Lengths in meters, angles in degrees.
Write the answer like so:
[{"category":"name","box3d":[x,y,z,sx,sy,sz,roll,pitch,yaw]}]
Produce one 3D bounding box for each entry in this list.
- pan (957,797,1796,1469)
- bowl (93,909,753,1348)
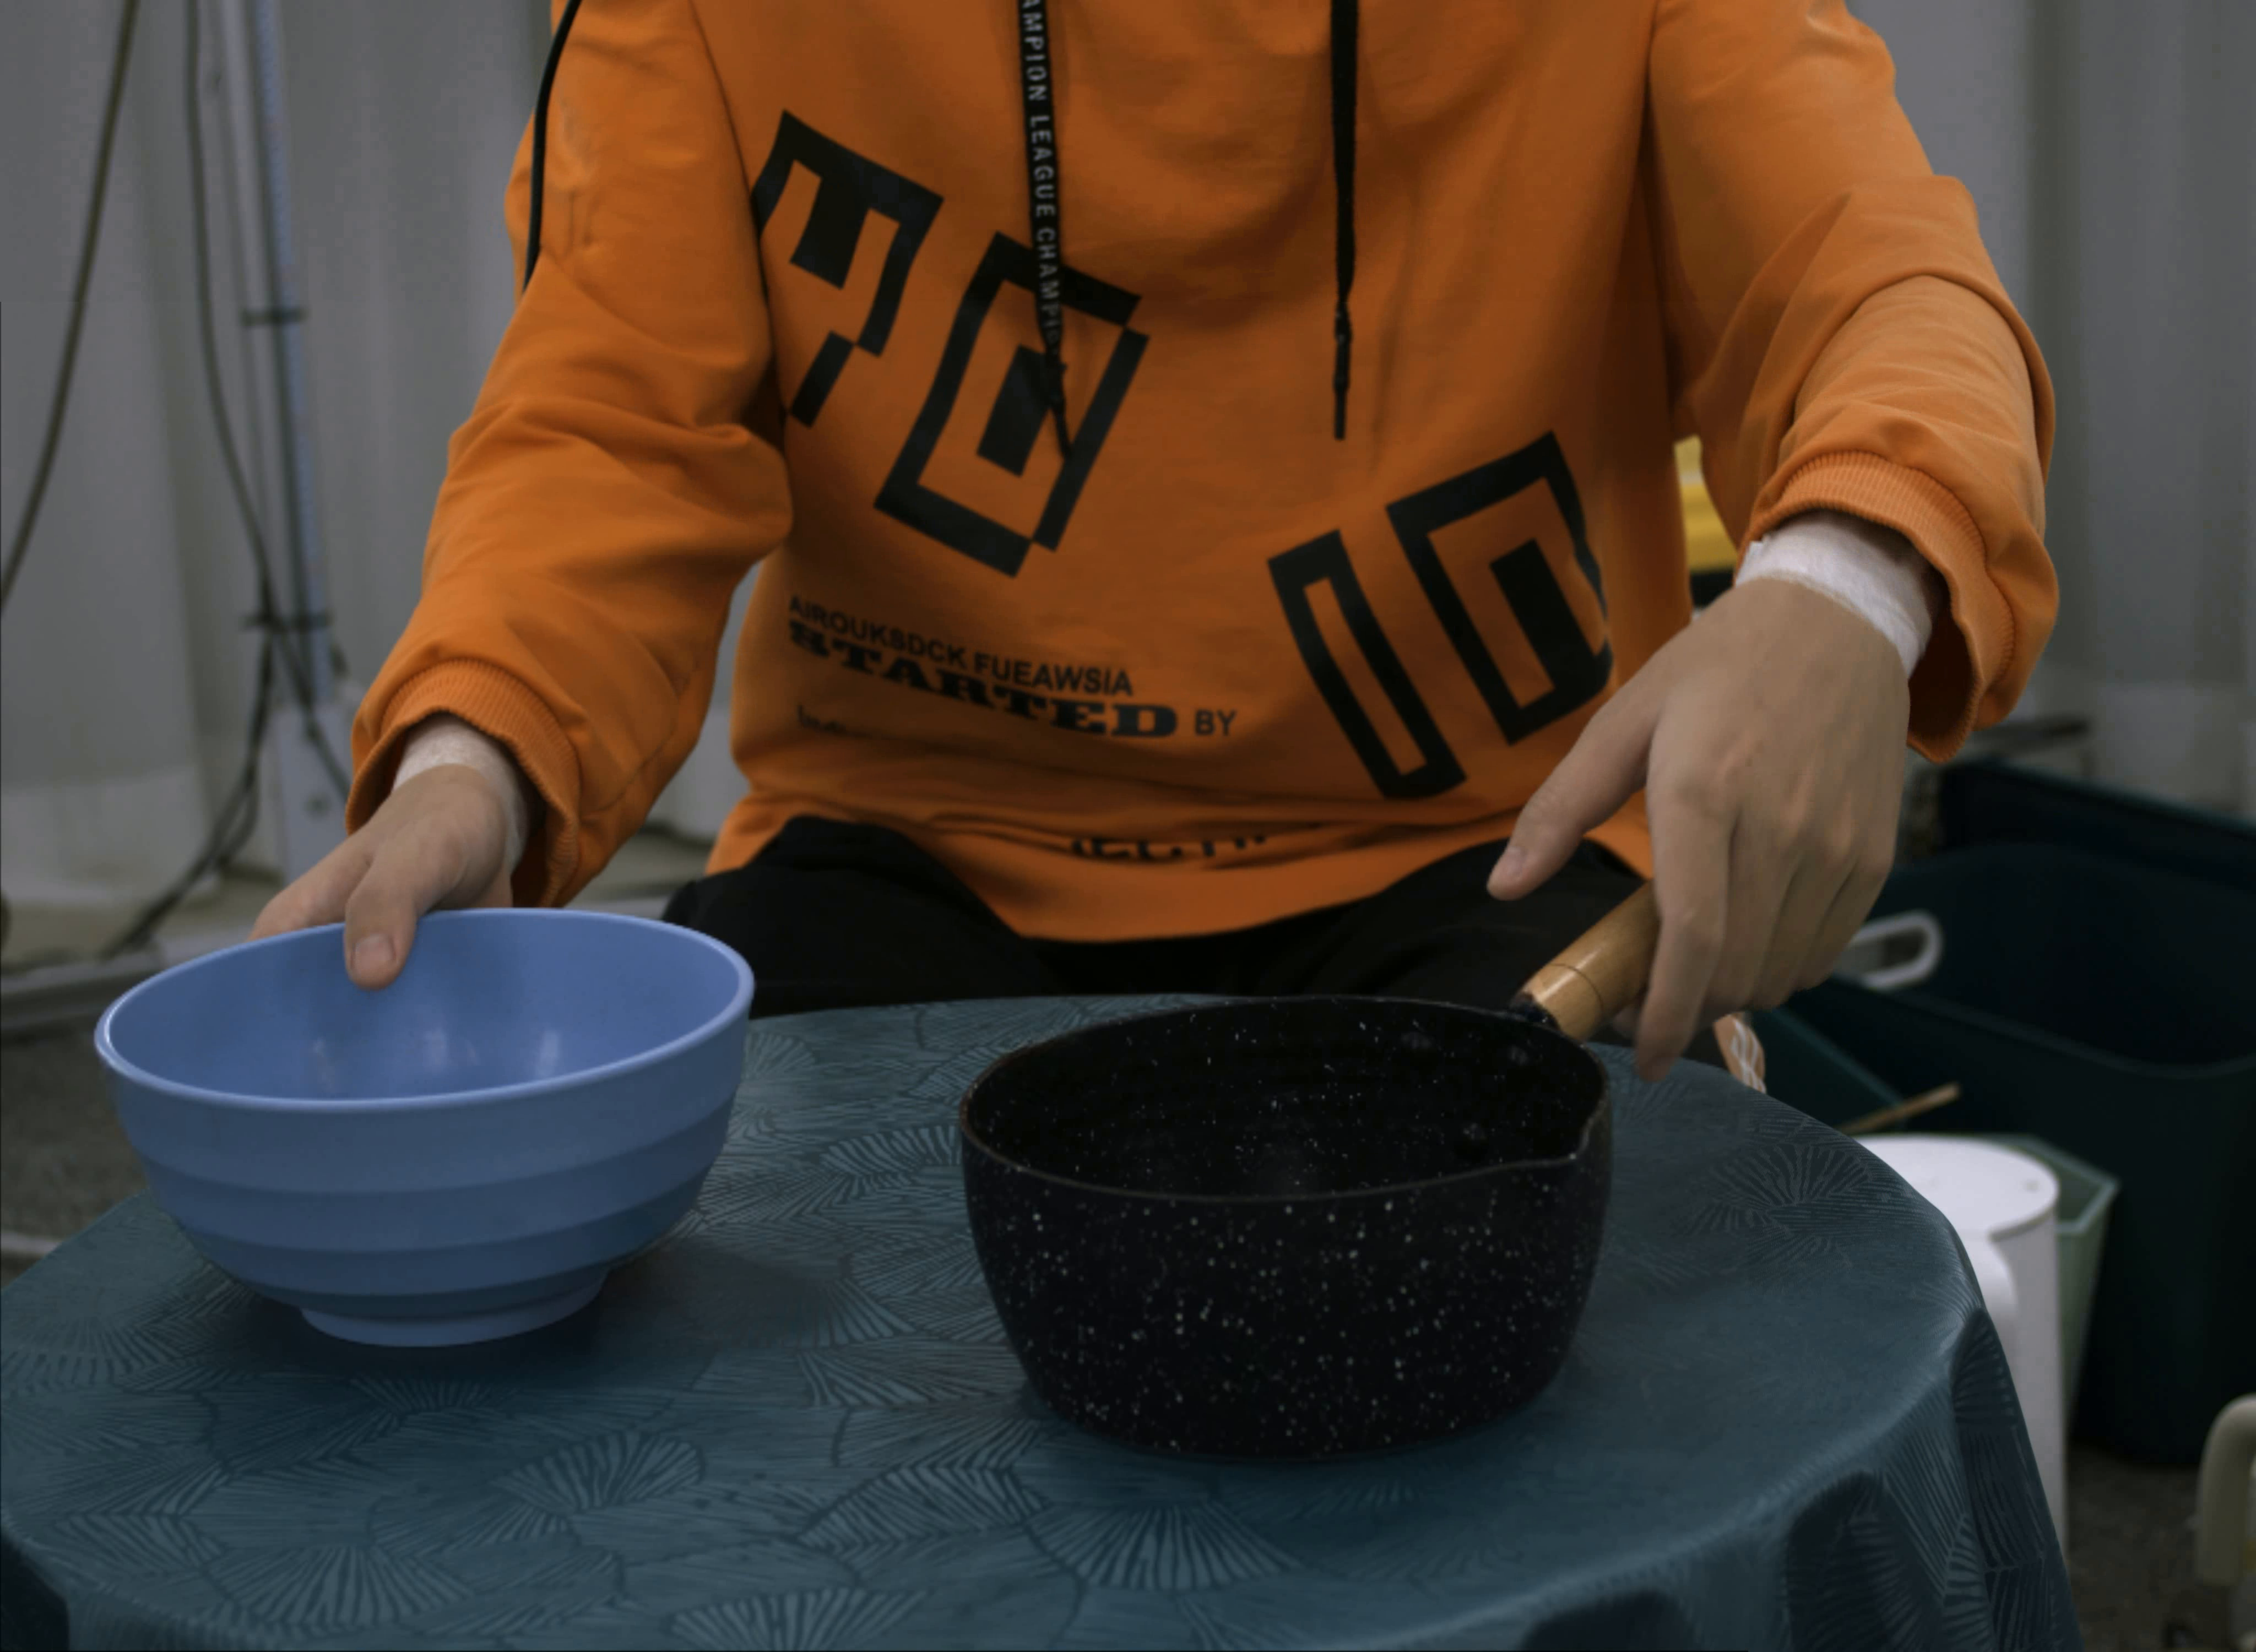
[{"category":"pan","box3d":[0.094,0.085,1.601,0.208,0.108,0.343,7,20,38]},{"category":"bowl","box3d":[-0.207,0.096,1.642,0.196,0.095,0.198,-4,15,1]}]
